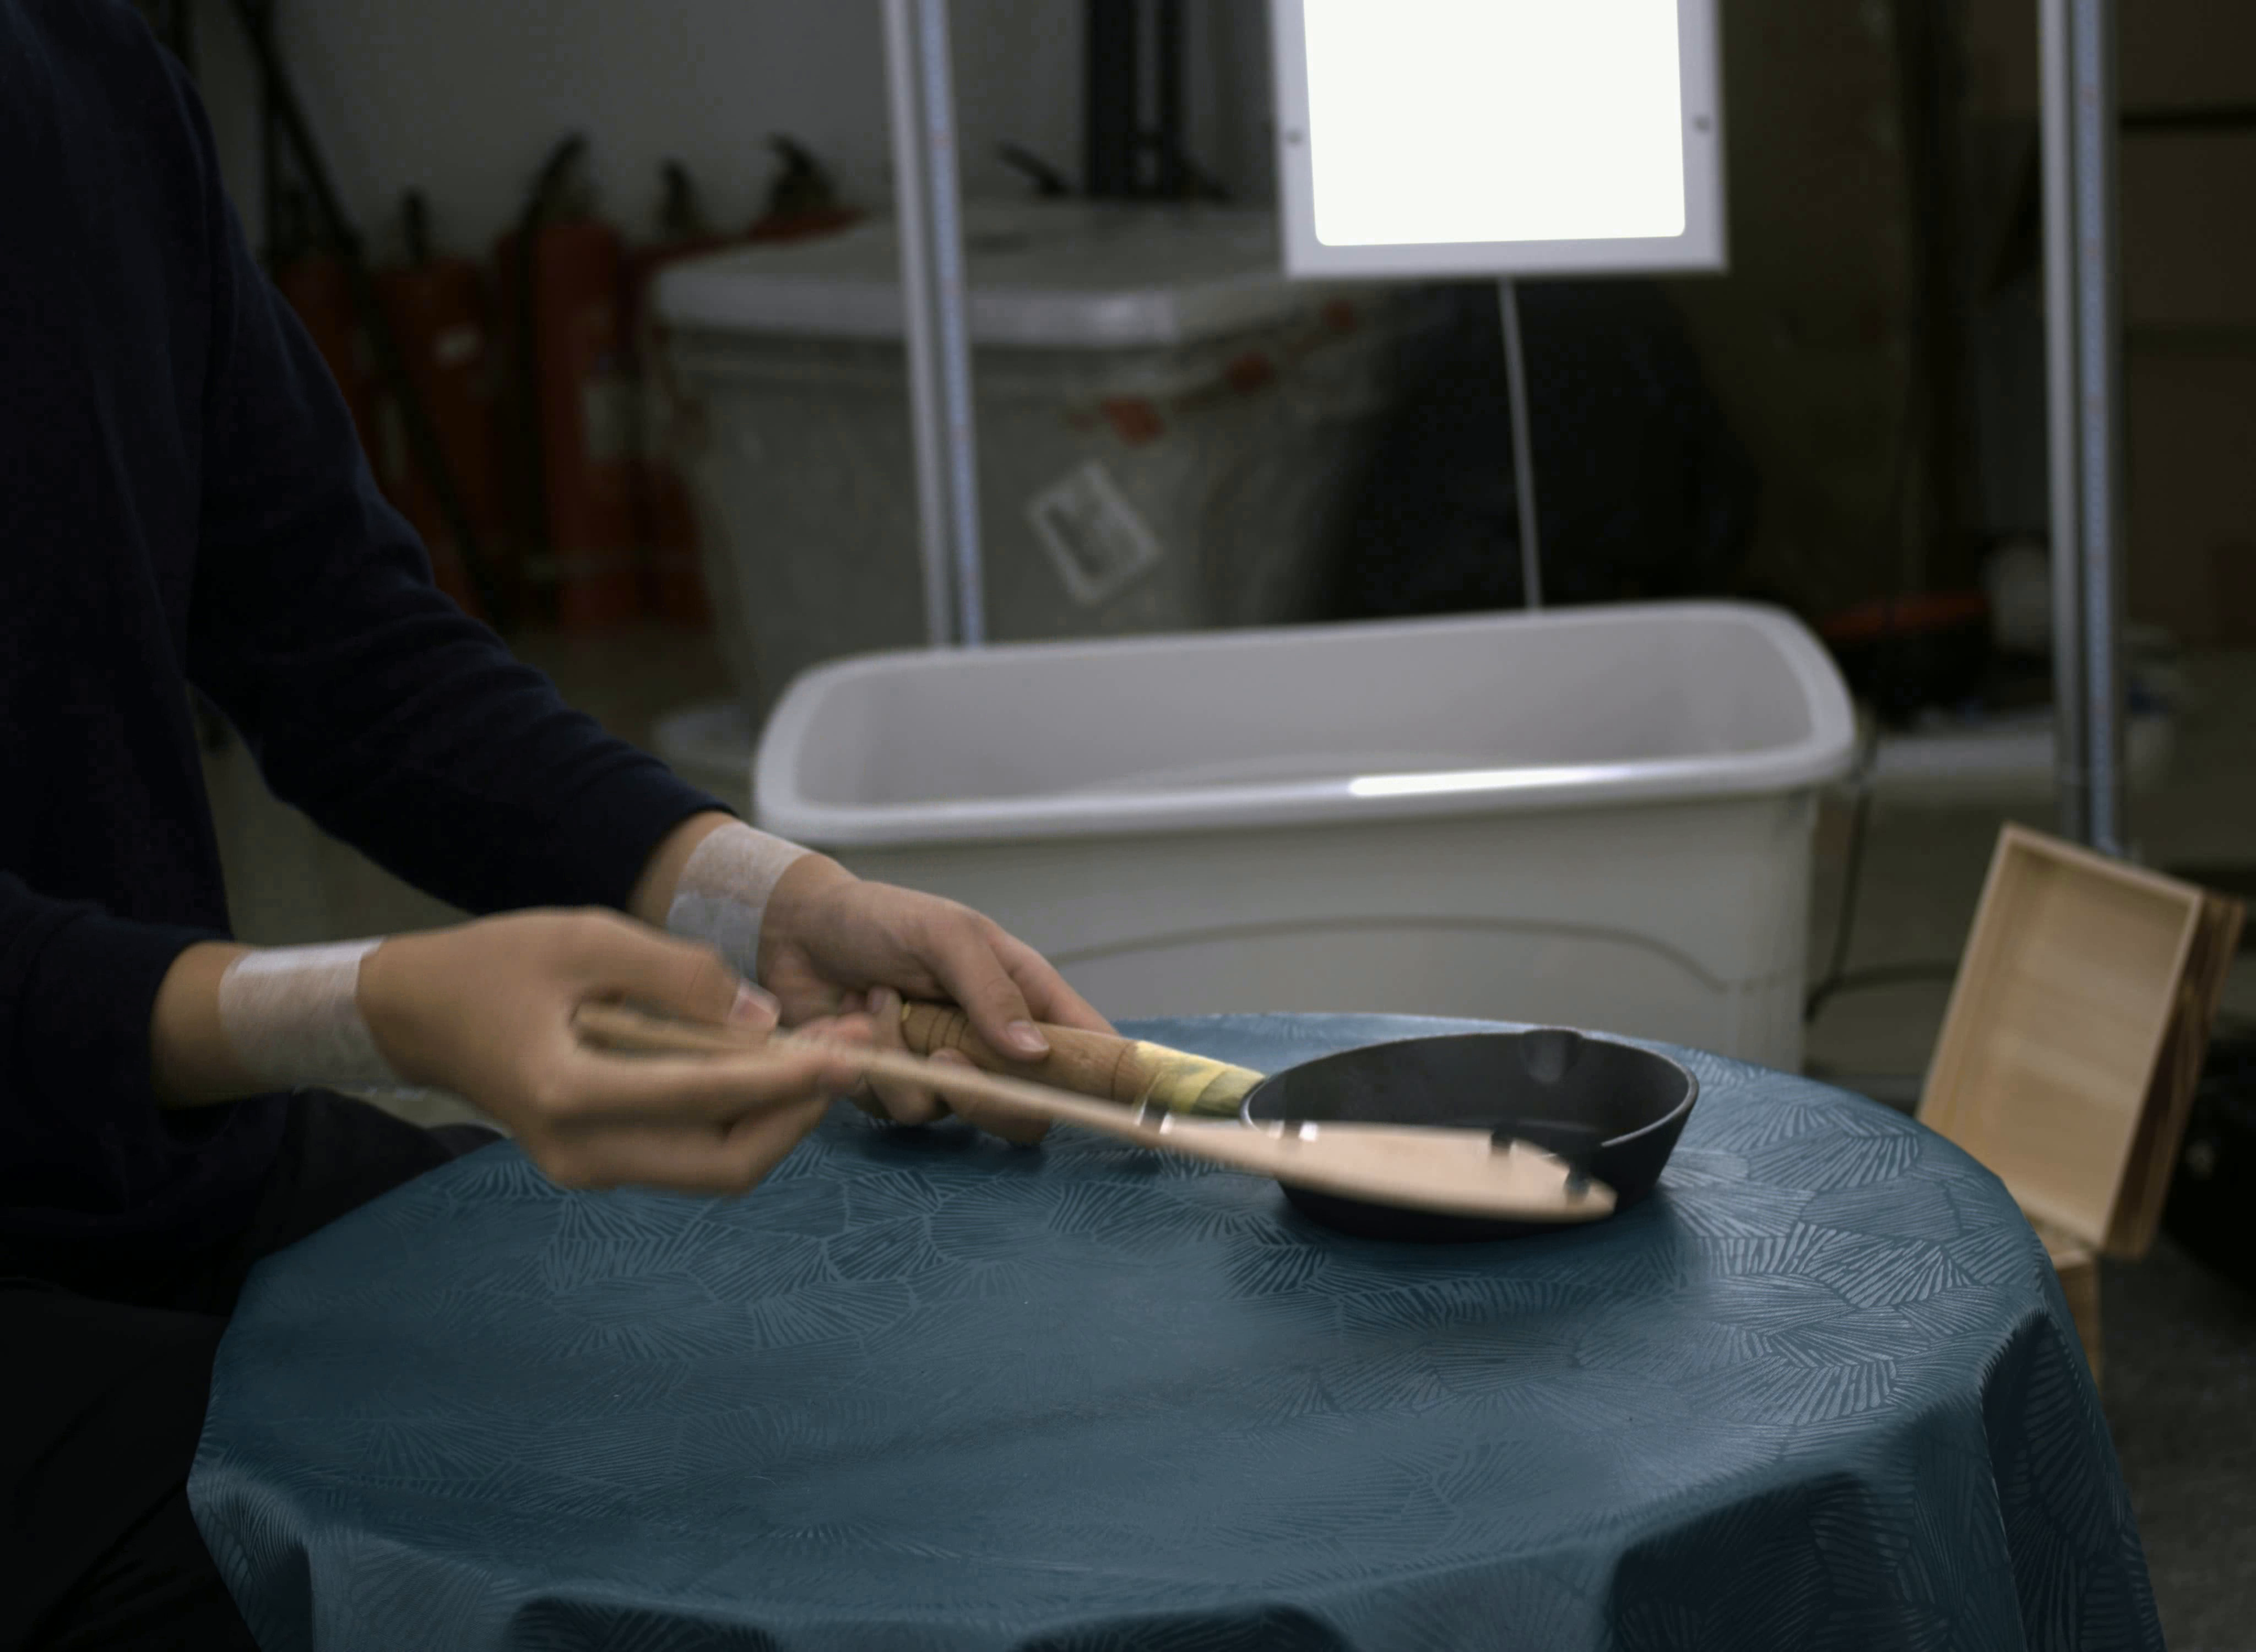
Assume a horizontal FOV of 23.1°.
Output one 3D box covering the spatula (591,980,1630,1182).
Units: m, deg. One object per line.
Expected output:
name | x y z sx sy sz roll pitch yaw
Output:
spatula | -0.007 0.076 1.683 0.323 0.016 0.081 12 7 -16

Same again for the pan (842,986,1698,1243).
pan | 0.042 0.093 1.909 0.330 0.050 0.165 5 17 31
